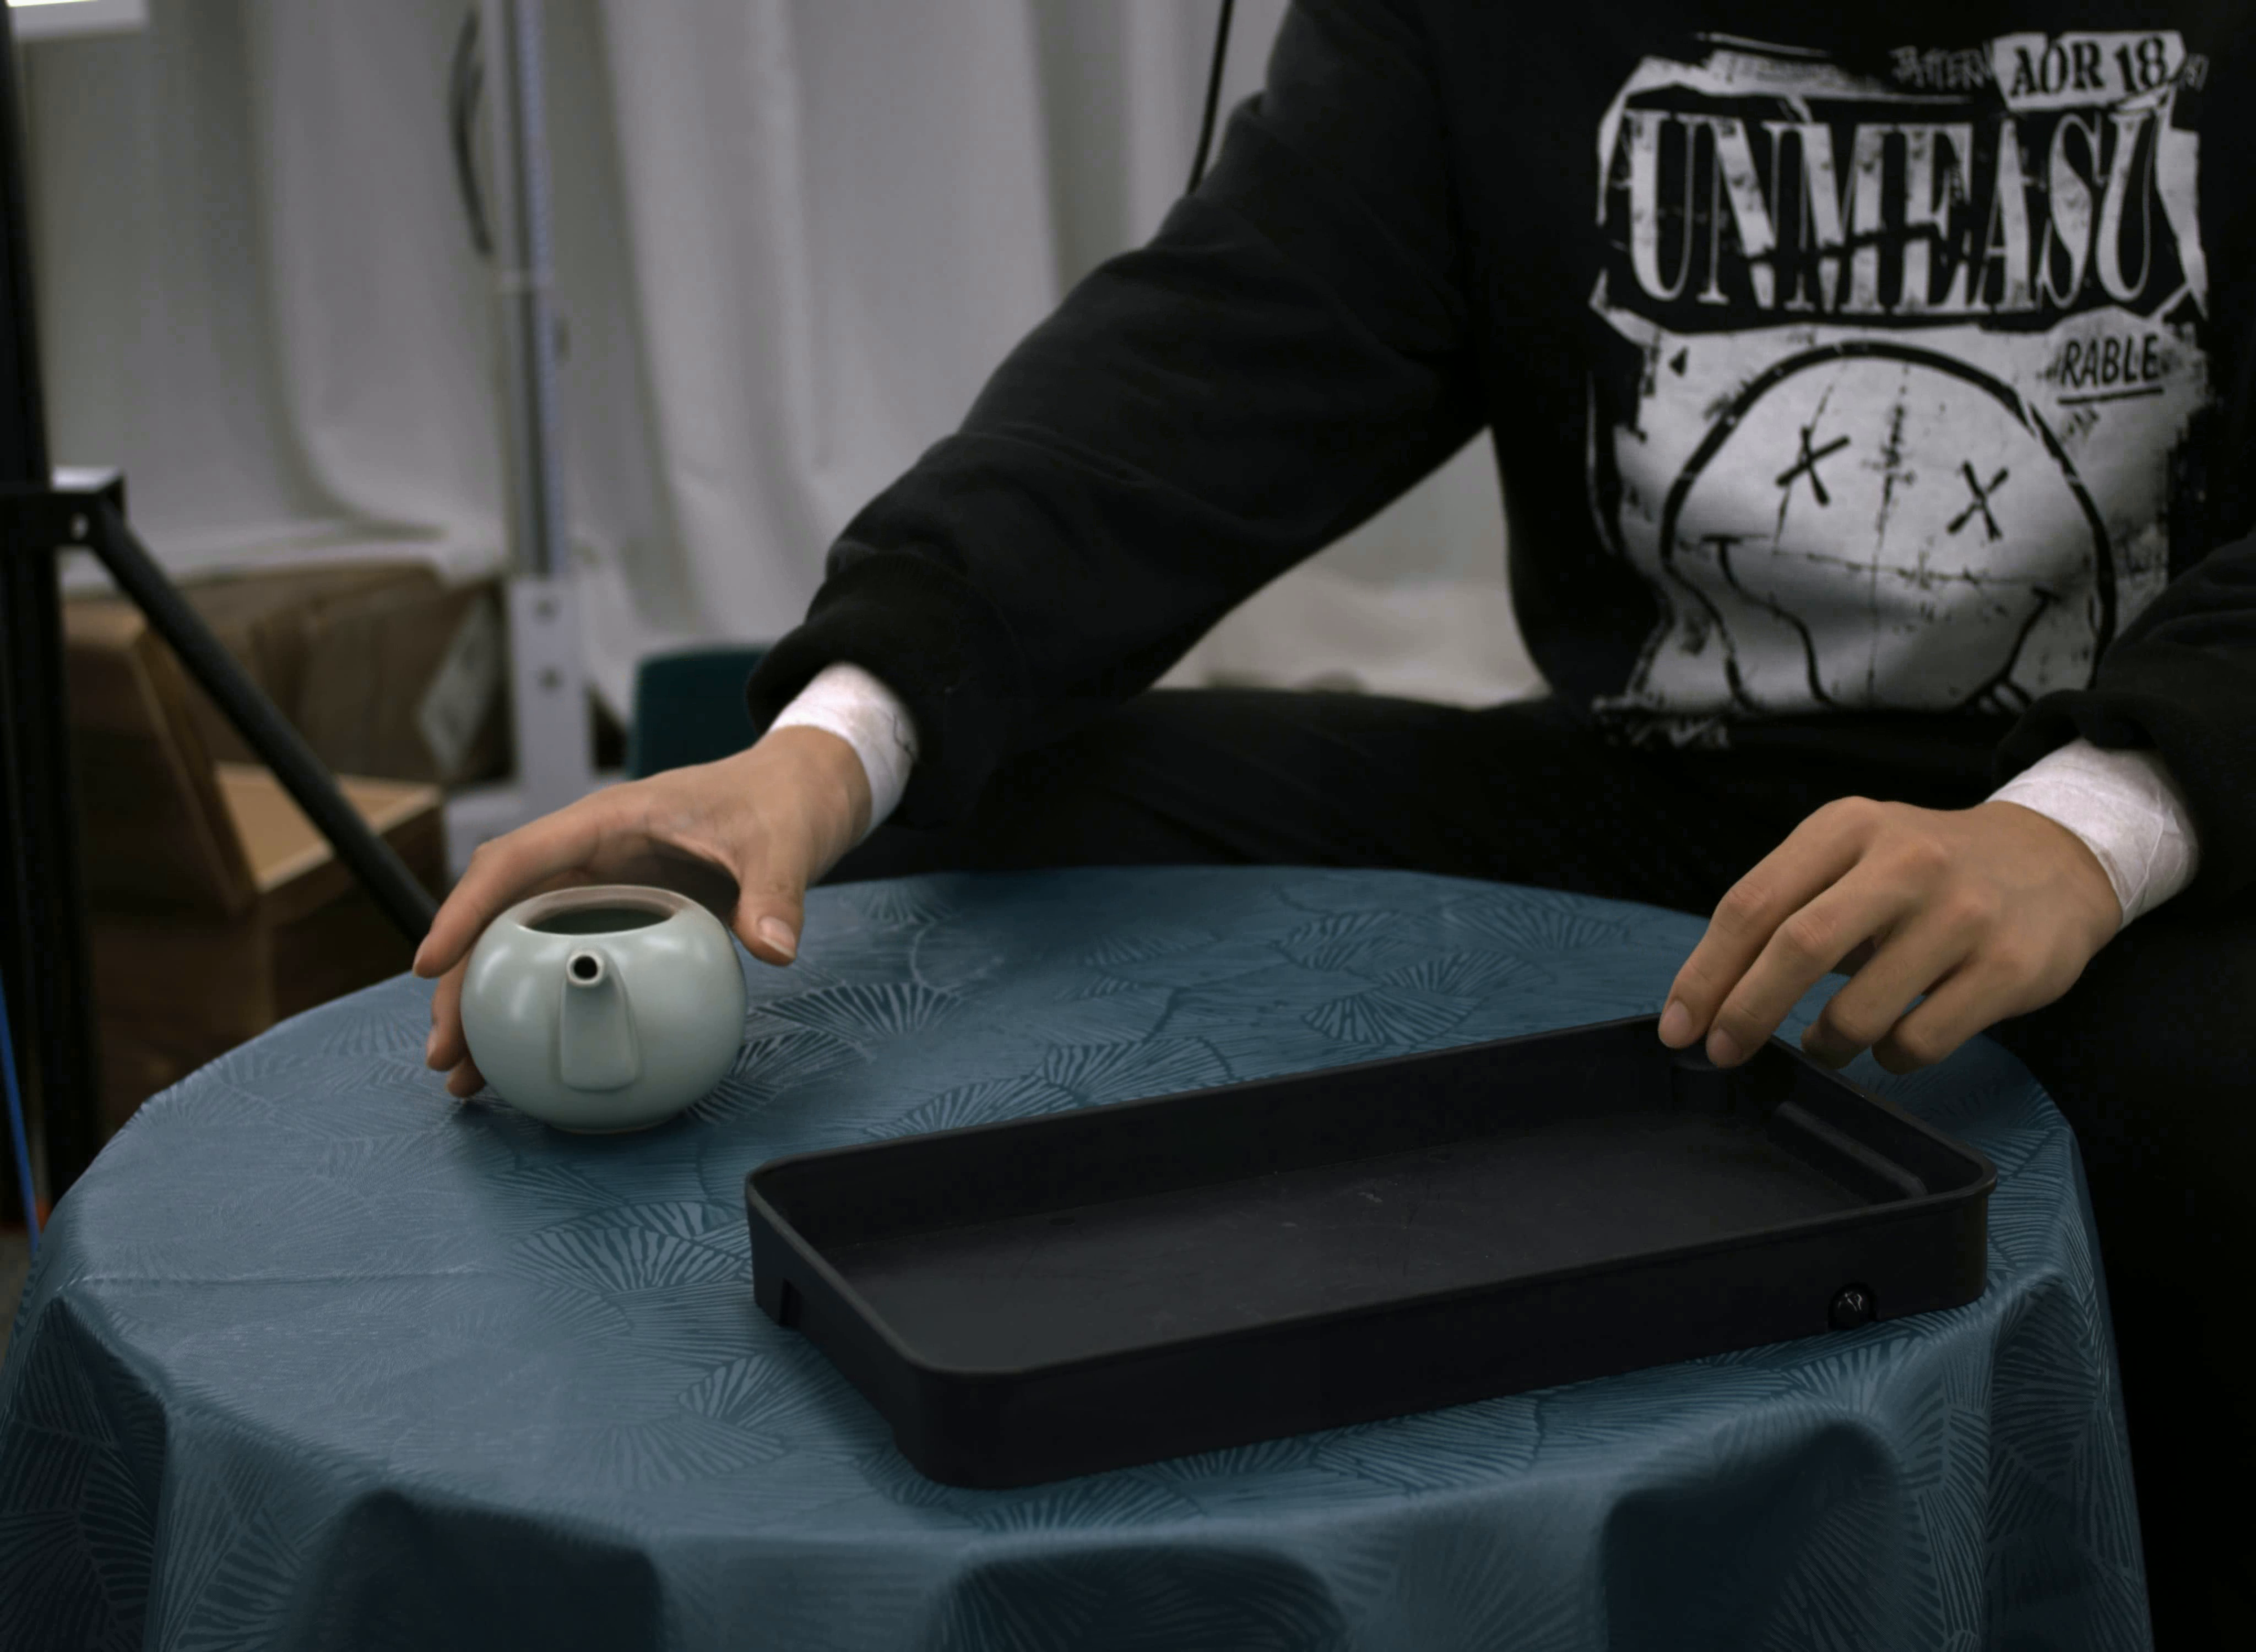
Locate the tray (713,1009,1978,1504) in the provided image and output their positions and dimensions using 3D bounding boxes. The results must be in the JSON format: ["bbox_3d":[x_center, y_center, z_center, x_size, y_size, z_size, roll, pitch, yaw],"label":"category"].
[{"bbox_3d":[0.060,0.113,1.461,0.312,0.037,0.188,-9,17,-20],"label":"tray"}]

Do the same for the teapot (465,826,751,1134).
[{"bbox_3d":[-0.160,0.054,1.640,0.088,0.074,0.144,-2,17,1],"label":"teapot"}]
